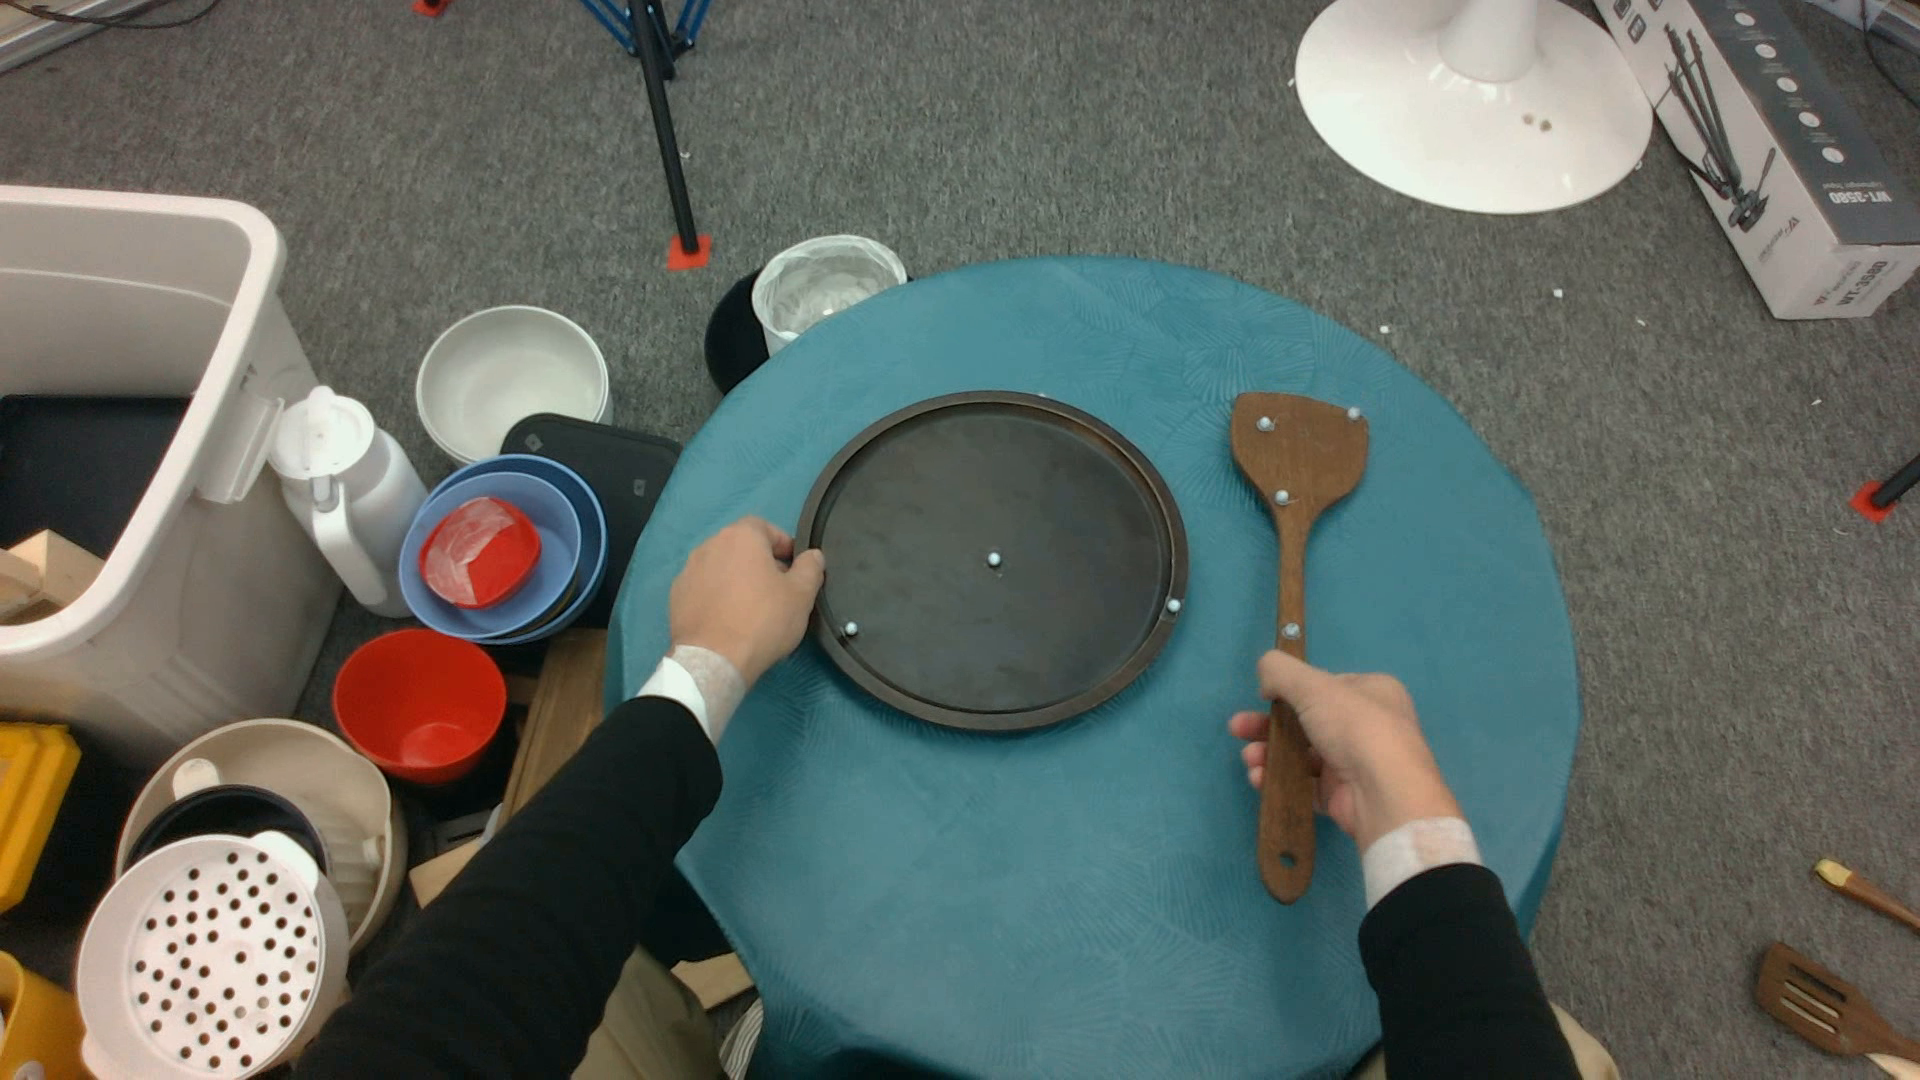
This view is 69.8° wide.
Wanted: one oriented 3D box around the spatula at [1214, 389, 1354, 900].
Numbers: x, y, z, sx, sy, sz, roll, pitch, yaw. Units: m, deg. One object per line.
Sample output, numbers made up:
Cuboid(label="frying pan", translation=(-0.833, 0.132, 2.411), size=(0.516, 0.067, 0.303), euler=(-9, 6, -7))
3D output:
Cuboid(label="spatula", translation=(0.192, 0.041, 0.837), size=(0.096, 0.015, 0.388), euler=(12, 49, 2))

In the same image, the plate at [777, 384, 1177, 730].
Cuboid(label="plate", translation=(0.011, 0.005, 0.880), size=(0.255, 0.029, 0.256), euler=(1, 59, -2))
